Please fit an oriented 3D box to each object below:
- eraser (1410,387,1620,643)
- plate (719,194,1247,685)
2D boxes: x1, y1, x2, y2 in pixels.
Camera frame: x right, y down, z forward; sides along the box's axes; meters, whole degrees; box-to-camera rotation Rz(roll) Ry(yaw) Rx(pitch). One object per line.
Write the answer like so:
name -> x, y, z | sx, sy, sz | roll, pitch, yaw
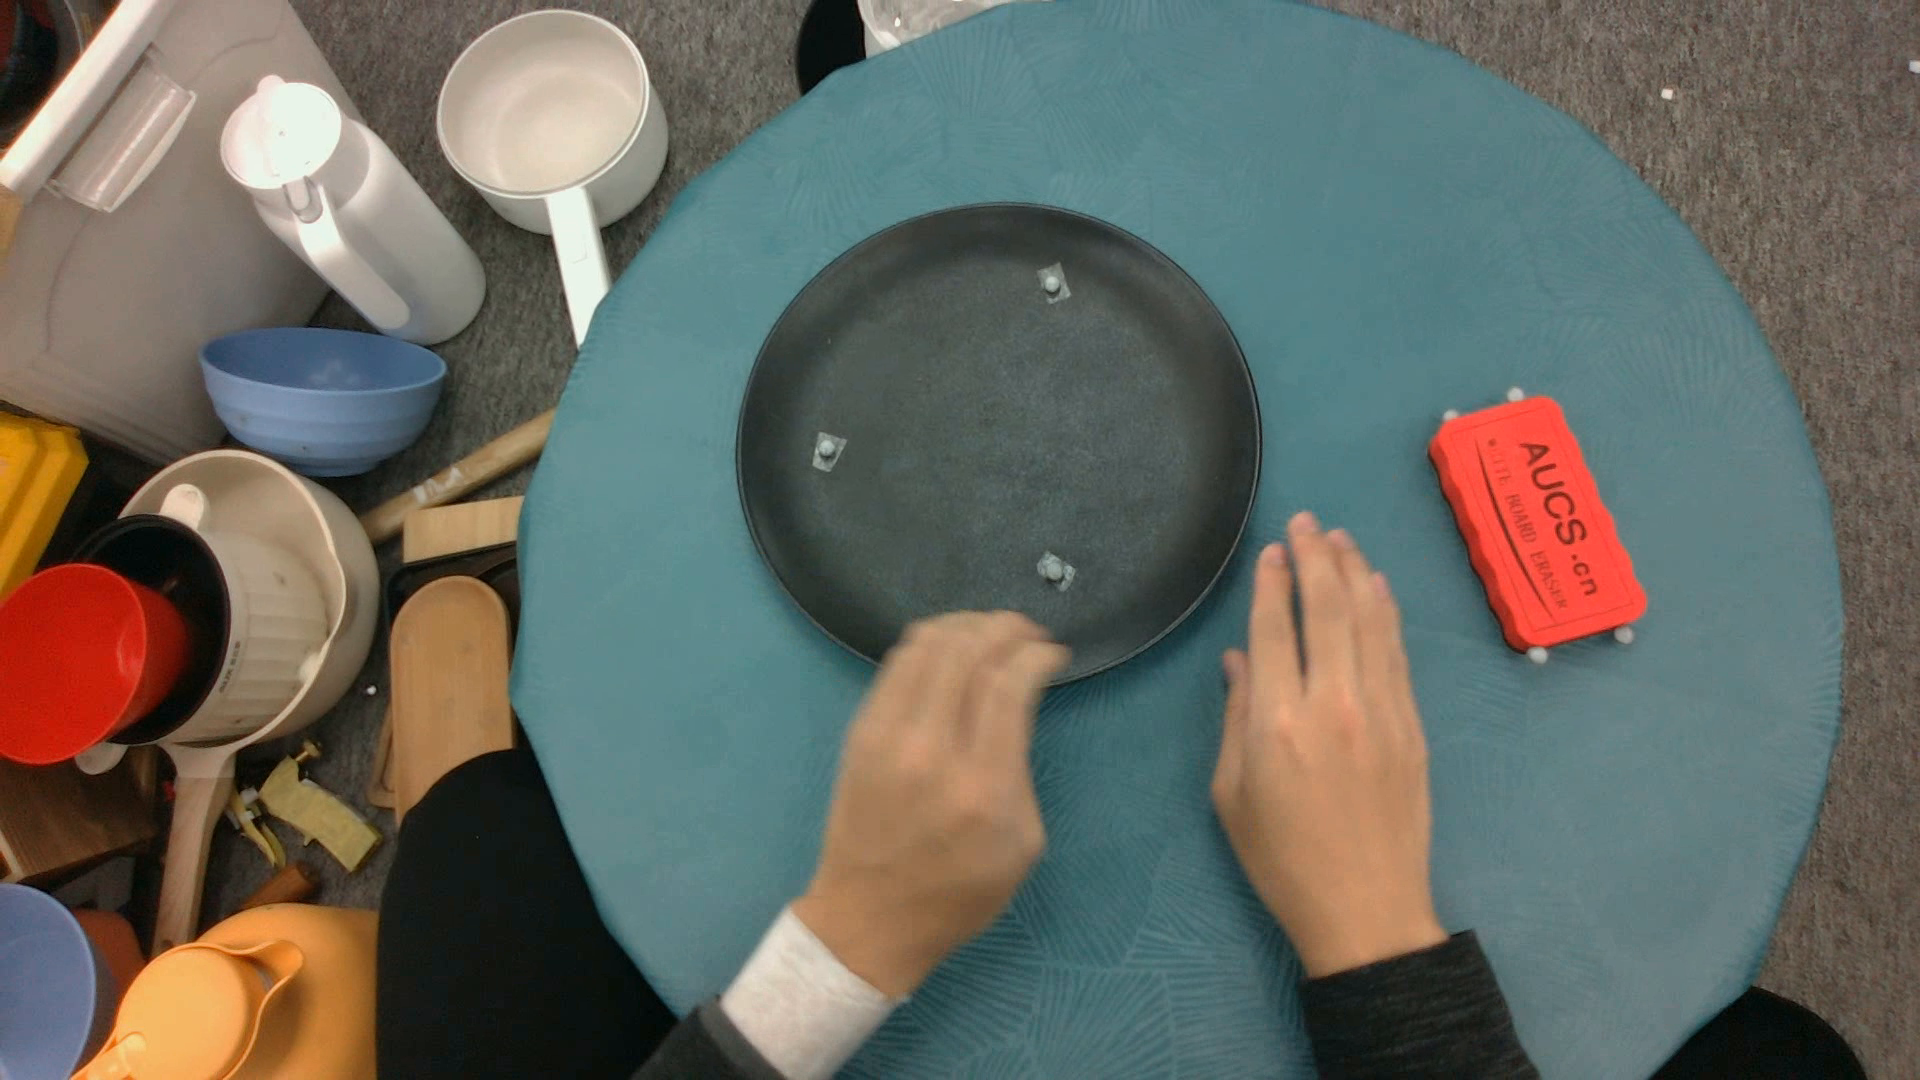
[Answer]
eraser -> 0.247, -0.012, 0.617 | 0.059, 0.023, 0.108 | -15, 72, 0
plate -> 0.010, -0.050, 0.643 | 0.244, 0.023, 0.245 | -1, 72, 3
